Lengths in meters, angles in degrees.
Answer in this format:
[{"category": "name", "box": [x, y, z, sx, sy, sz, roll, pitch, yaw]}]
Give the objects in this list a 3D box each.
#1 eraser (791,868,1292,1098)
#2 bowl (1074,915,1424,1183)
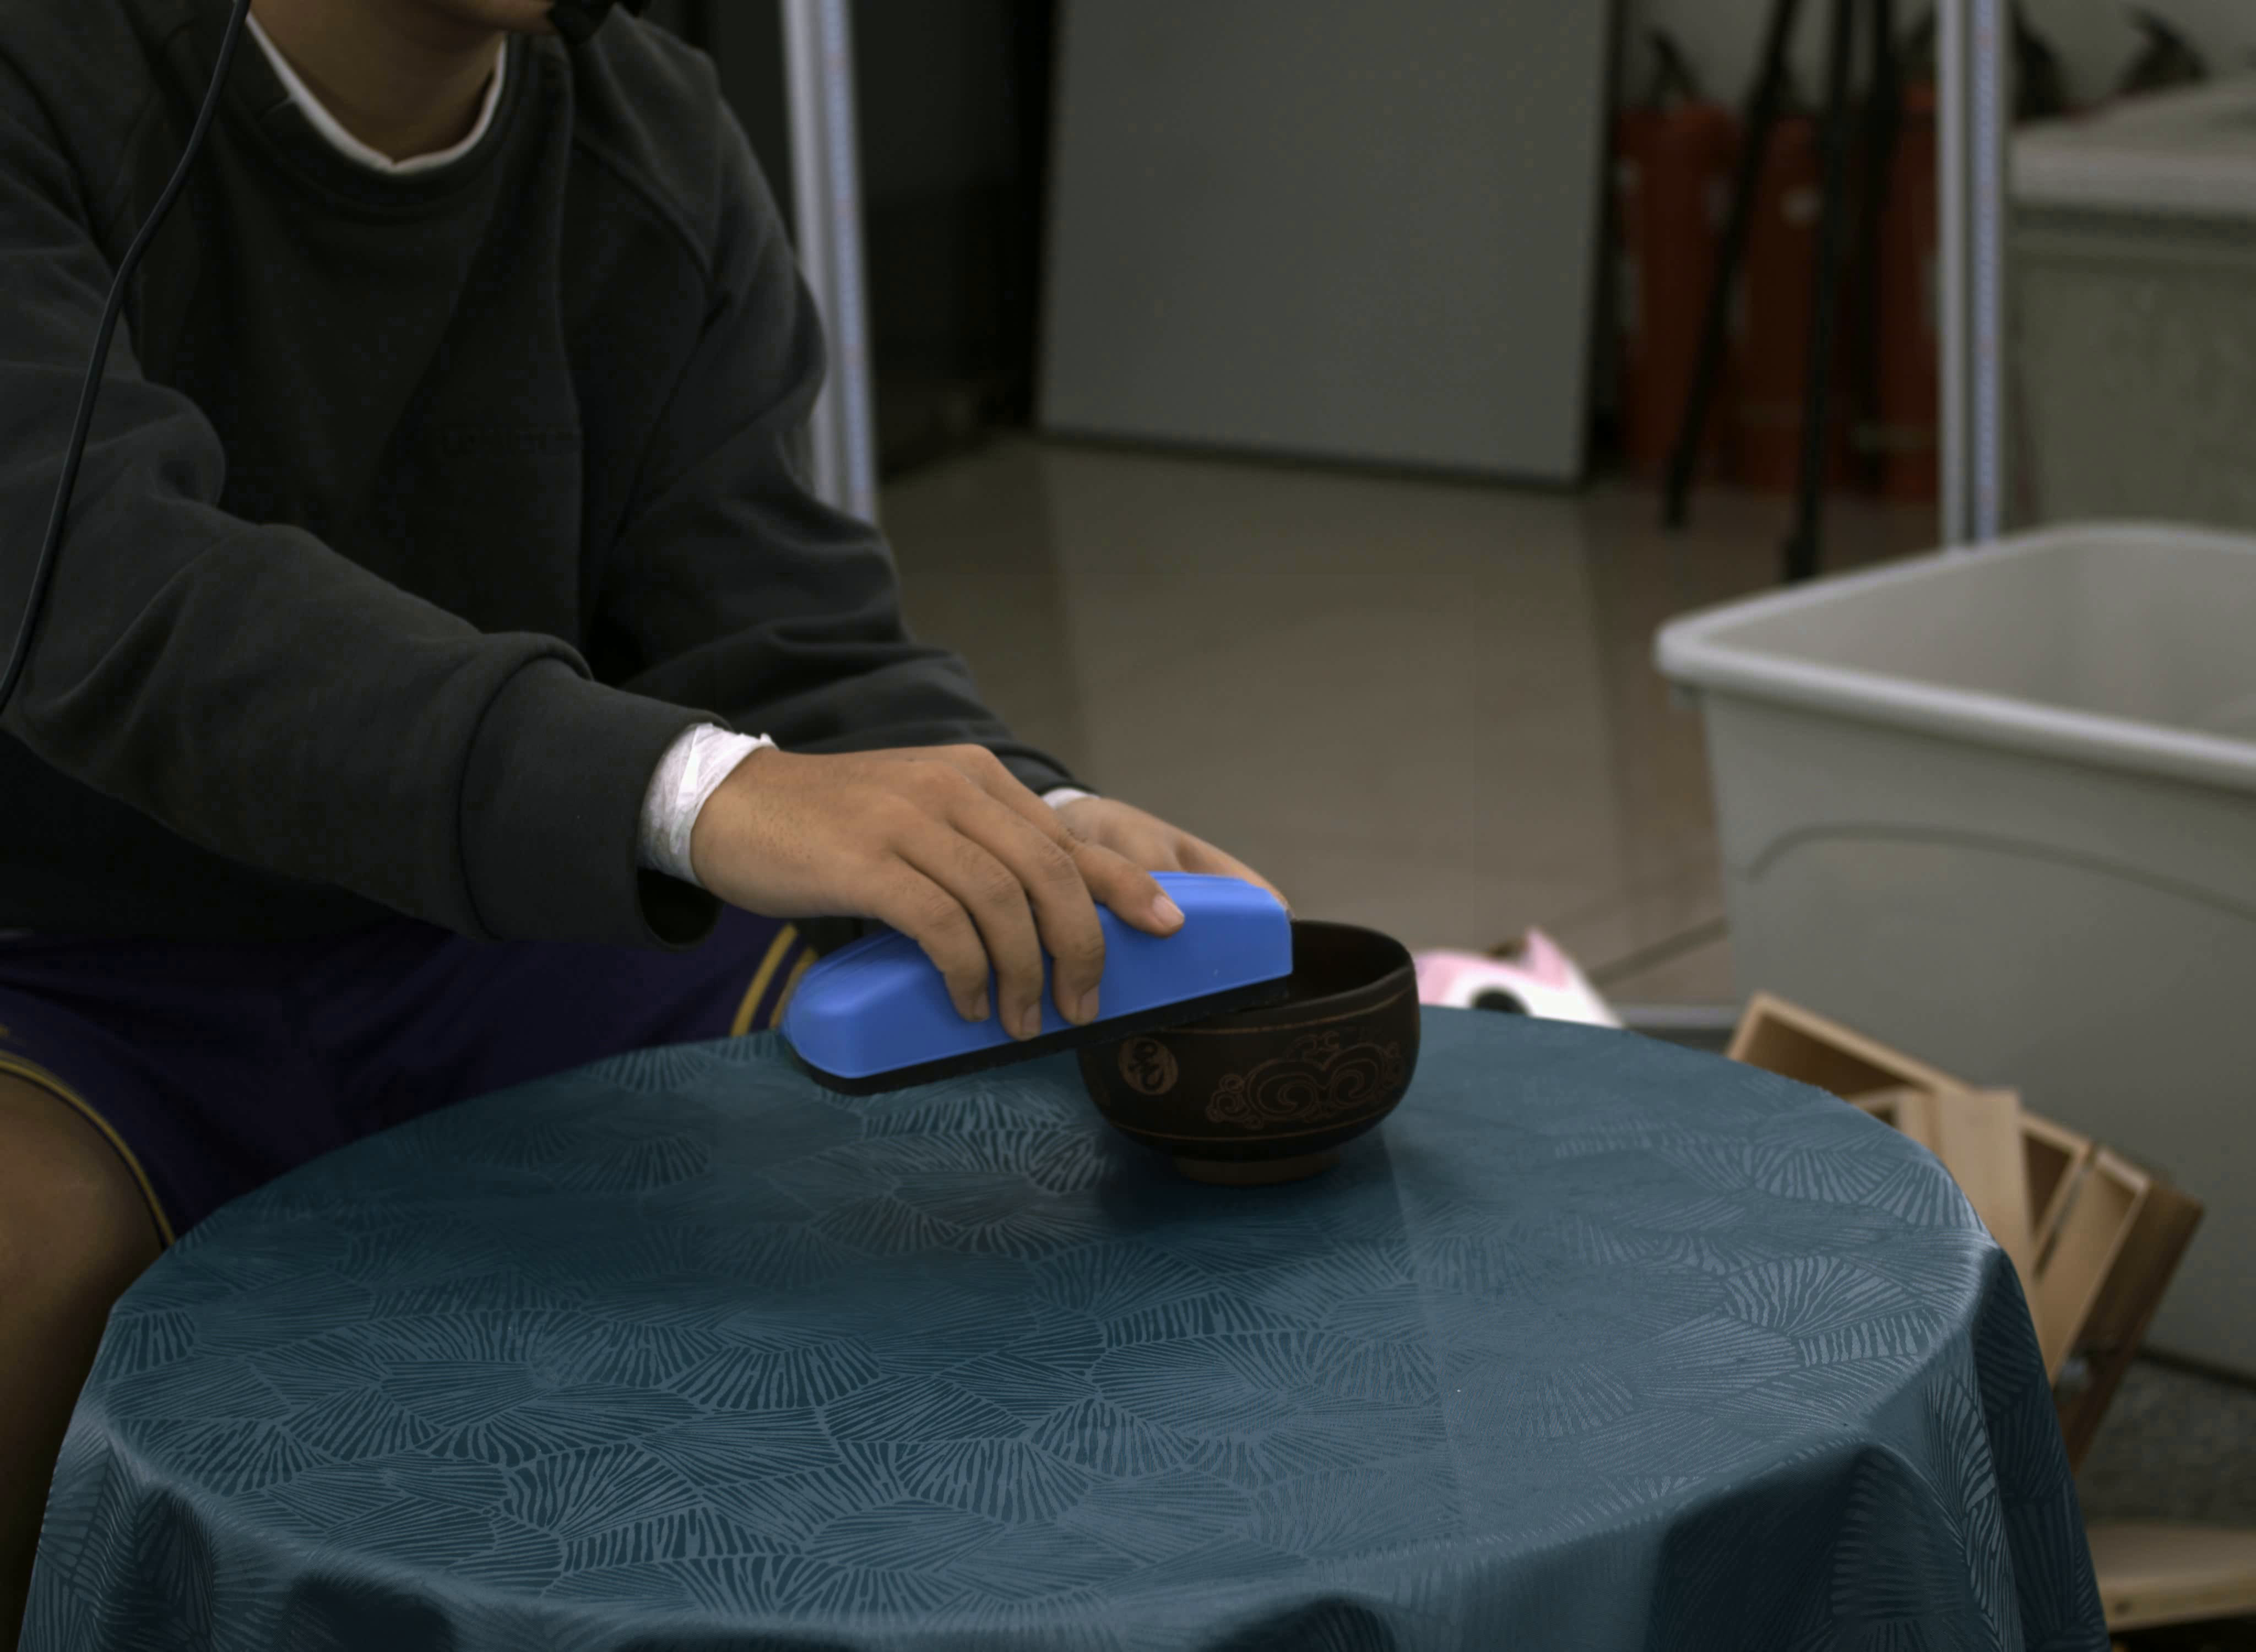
[{"category": "eraser", "box": [-0.028, 0.044, 1.712, 0.159, 0.048, 0.054, -13, 17, -19]}, {"category": "bowl", "box": [0.041, 0.077, 1.781, 0.116, 0.070, 0.118, -6, 13, 0]}]
